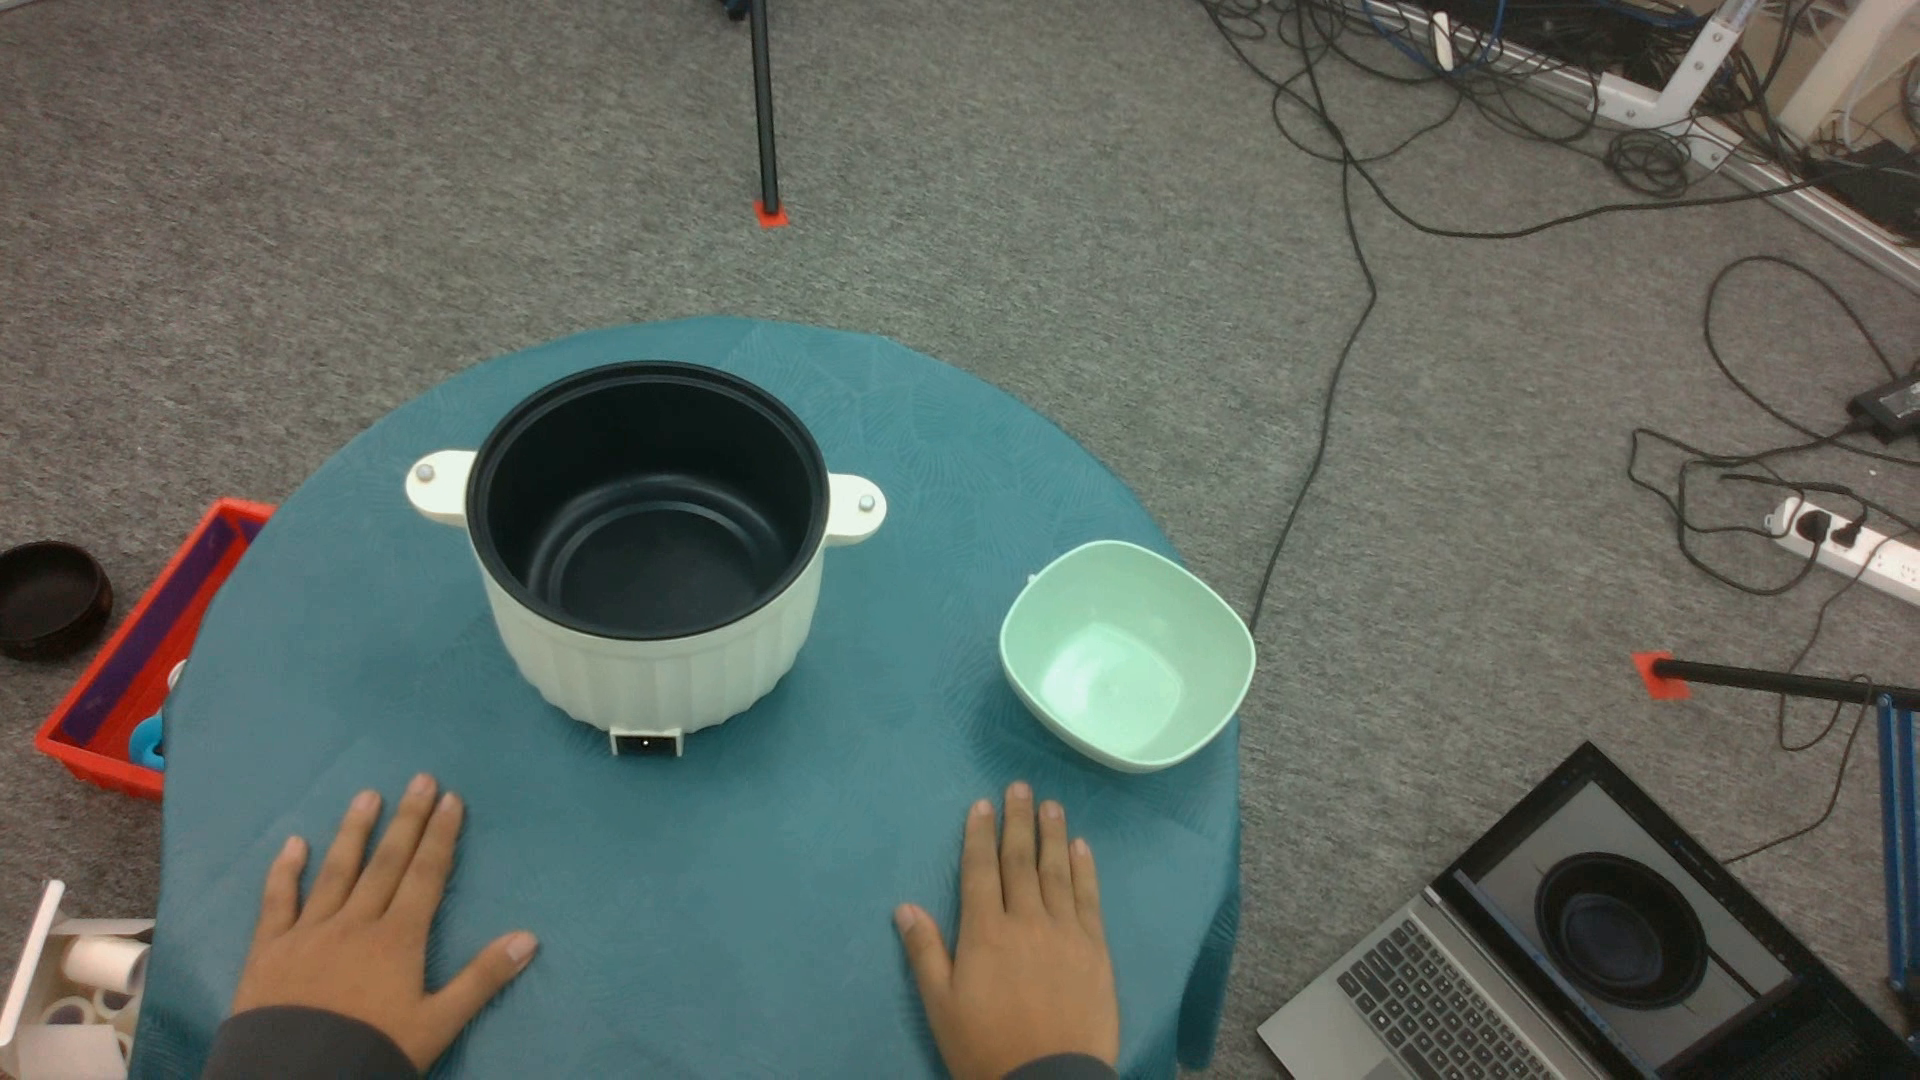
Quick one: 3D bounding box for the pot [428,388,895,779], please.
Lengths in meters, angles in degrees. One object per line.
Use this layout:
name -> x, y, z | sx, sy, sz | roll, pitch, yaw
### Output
pot -> -0.162, 0.022, 0.776 | 0.240, 0.142, 0.191 | -1, 56, -9

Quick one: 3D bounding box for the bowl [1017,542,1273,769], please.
bowl -> 0.106, 0.077, 0.819 | 0.151, 0.058, 0.152 | 2, 52, -3
